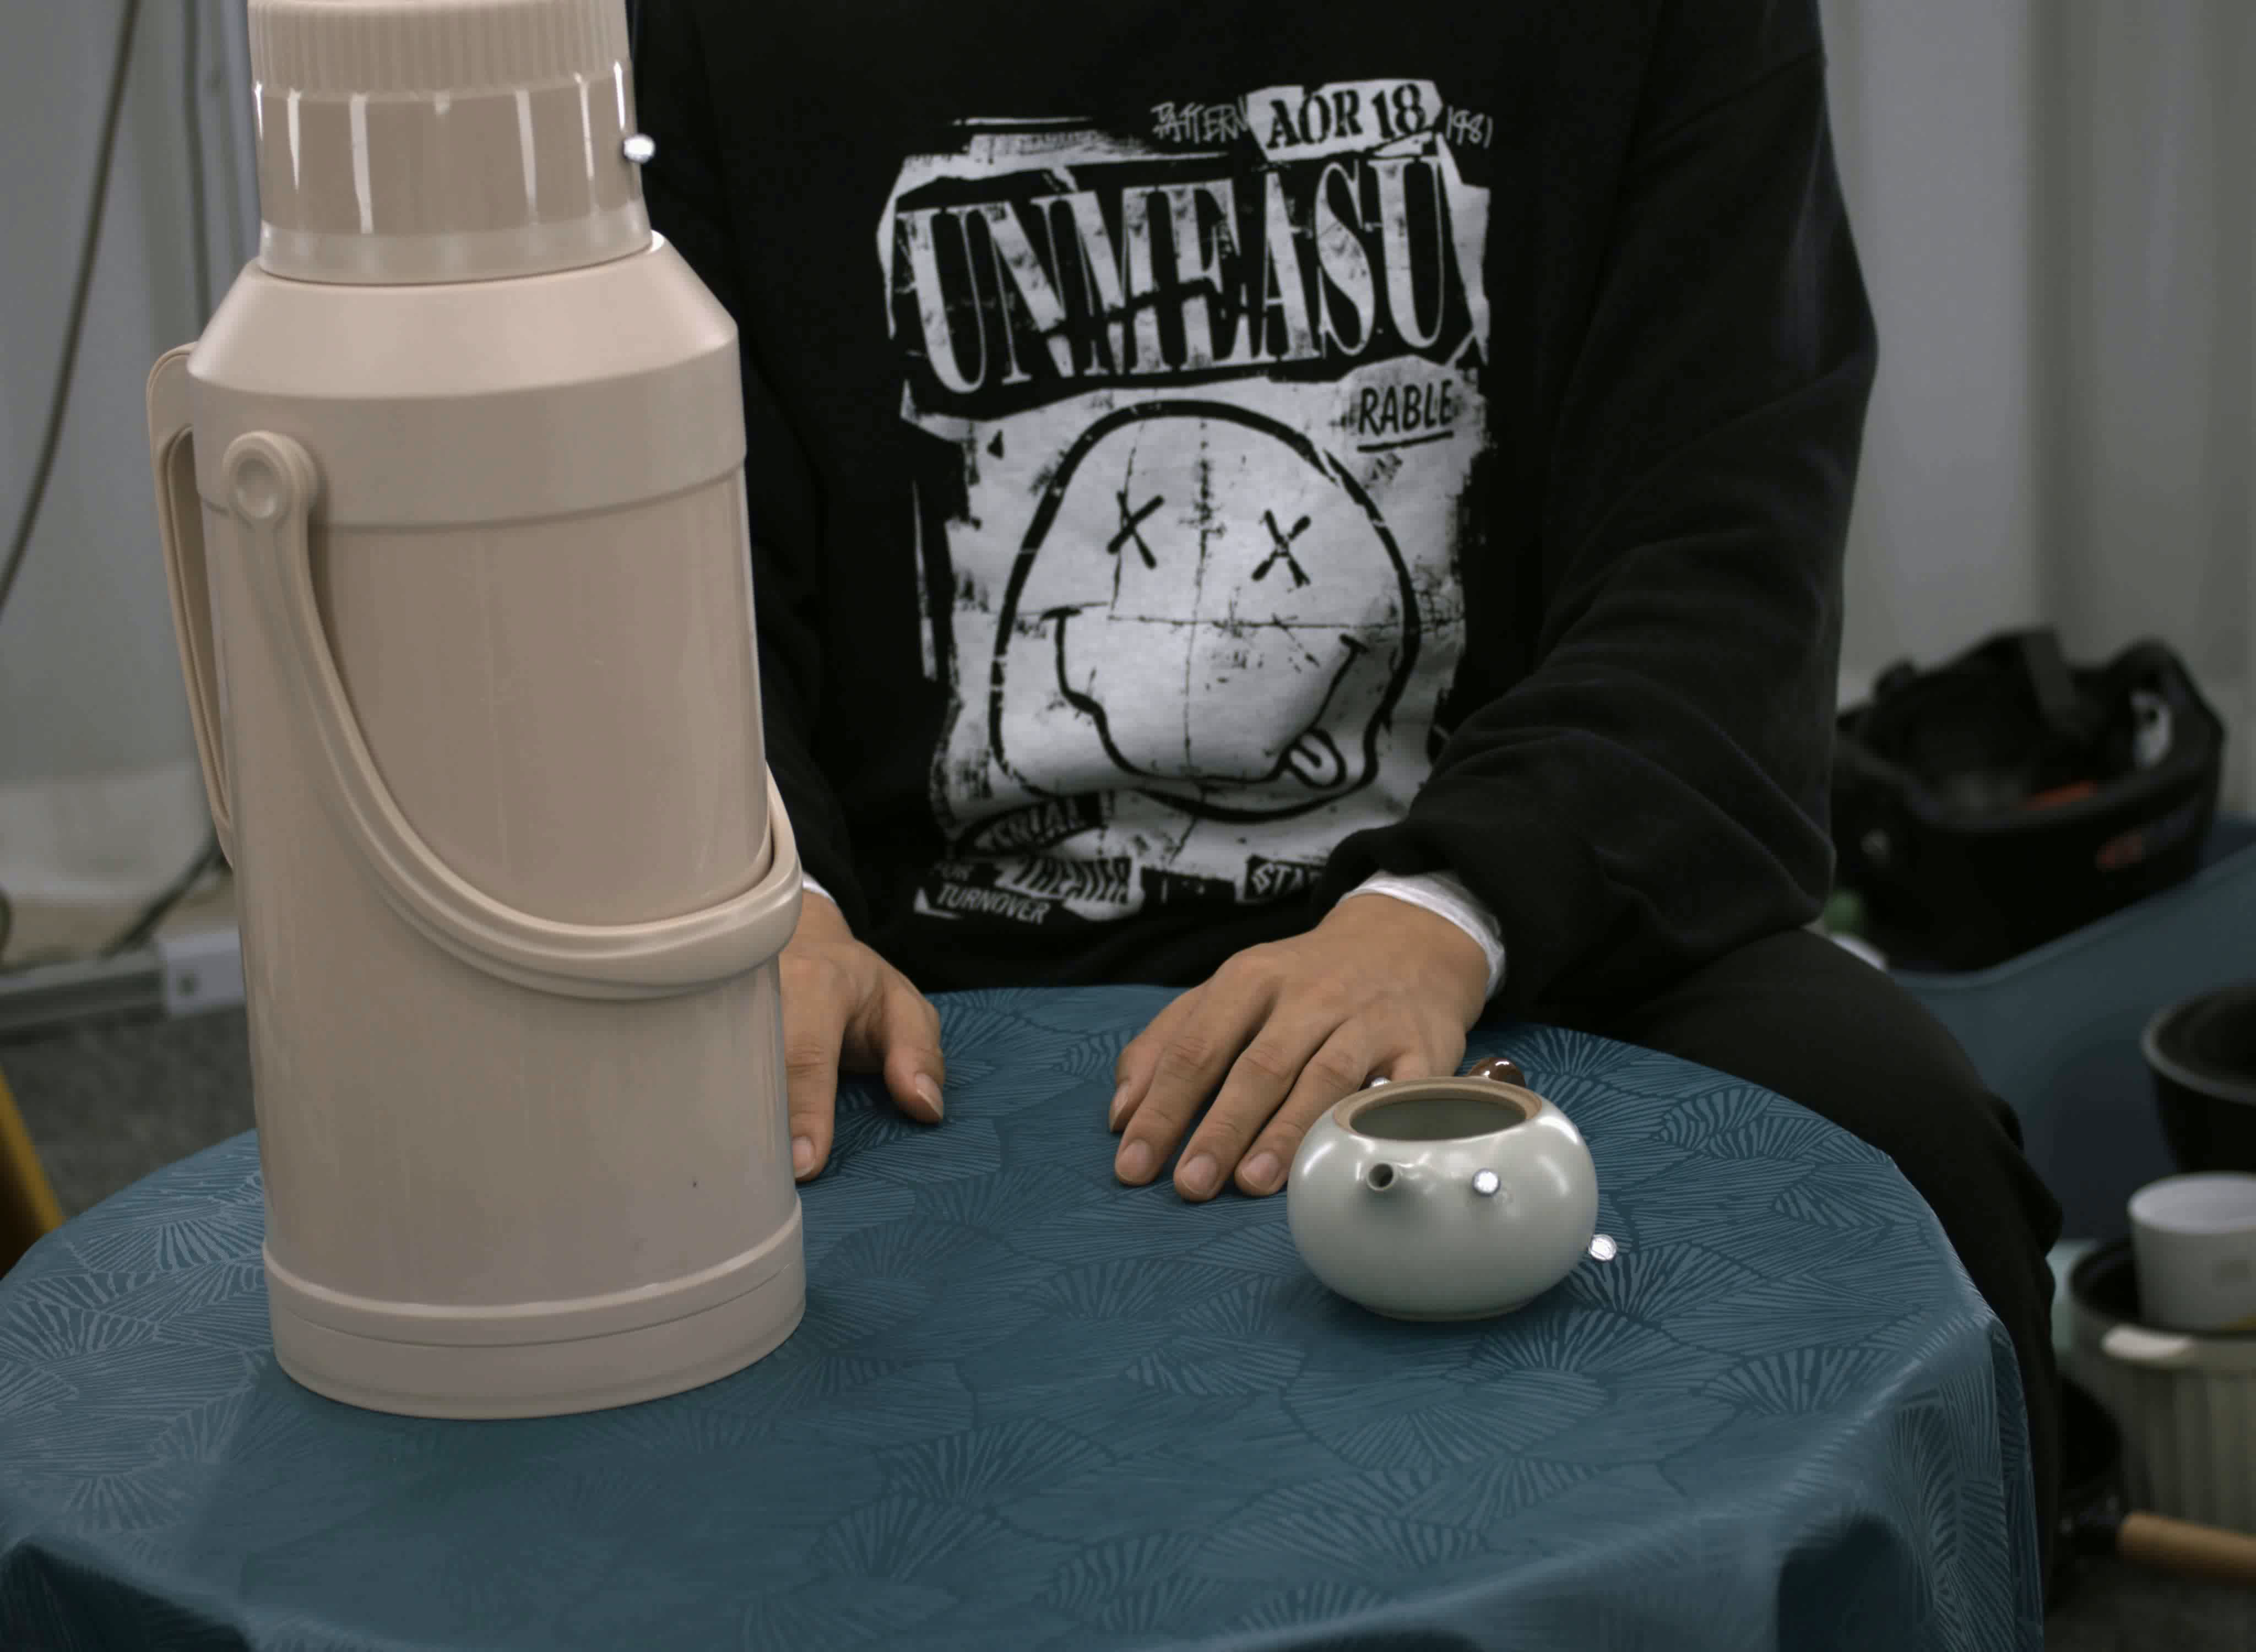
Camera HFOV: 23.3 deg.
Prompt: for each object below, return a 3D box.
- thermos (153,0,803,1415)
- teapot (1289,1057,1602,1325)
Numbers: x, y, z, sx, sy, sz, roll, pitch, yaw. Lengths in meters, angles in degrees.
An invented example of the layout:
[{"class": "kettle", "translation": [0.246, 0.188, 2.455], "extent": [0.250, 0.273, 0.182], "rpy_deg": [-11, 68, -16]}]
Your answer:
[{"class": "thermos", "translation": [-0.194, -0.045, 1.588], "extent": [0.208, 0.404, 0.175], "rpy_deg": [7, 18, 33]}, {"class": "teapot", "translation": [0.096, 0.107, 1.610], "extent": [0.092, 0.059, 0.128], "rpy_deg": [-1, 15, 21]}]
